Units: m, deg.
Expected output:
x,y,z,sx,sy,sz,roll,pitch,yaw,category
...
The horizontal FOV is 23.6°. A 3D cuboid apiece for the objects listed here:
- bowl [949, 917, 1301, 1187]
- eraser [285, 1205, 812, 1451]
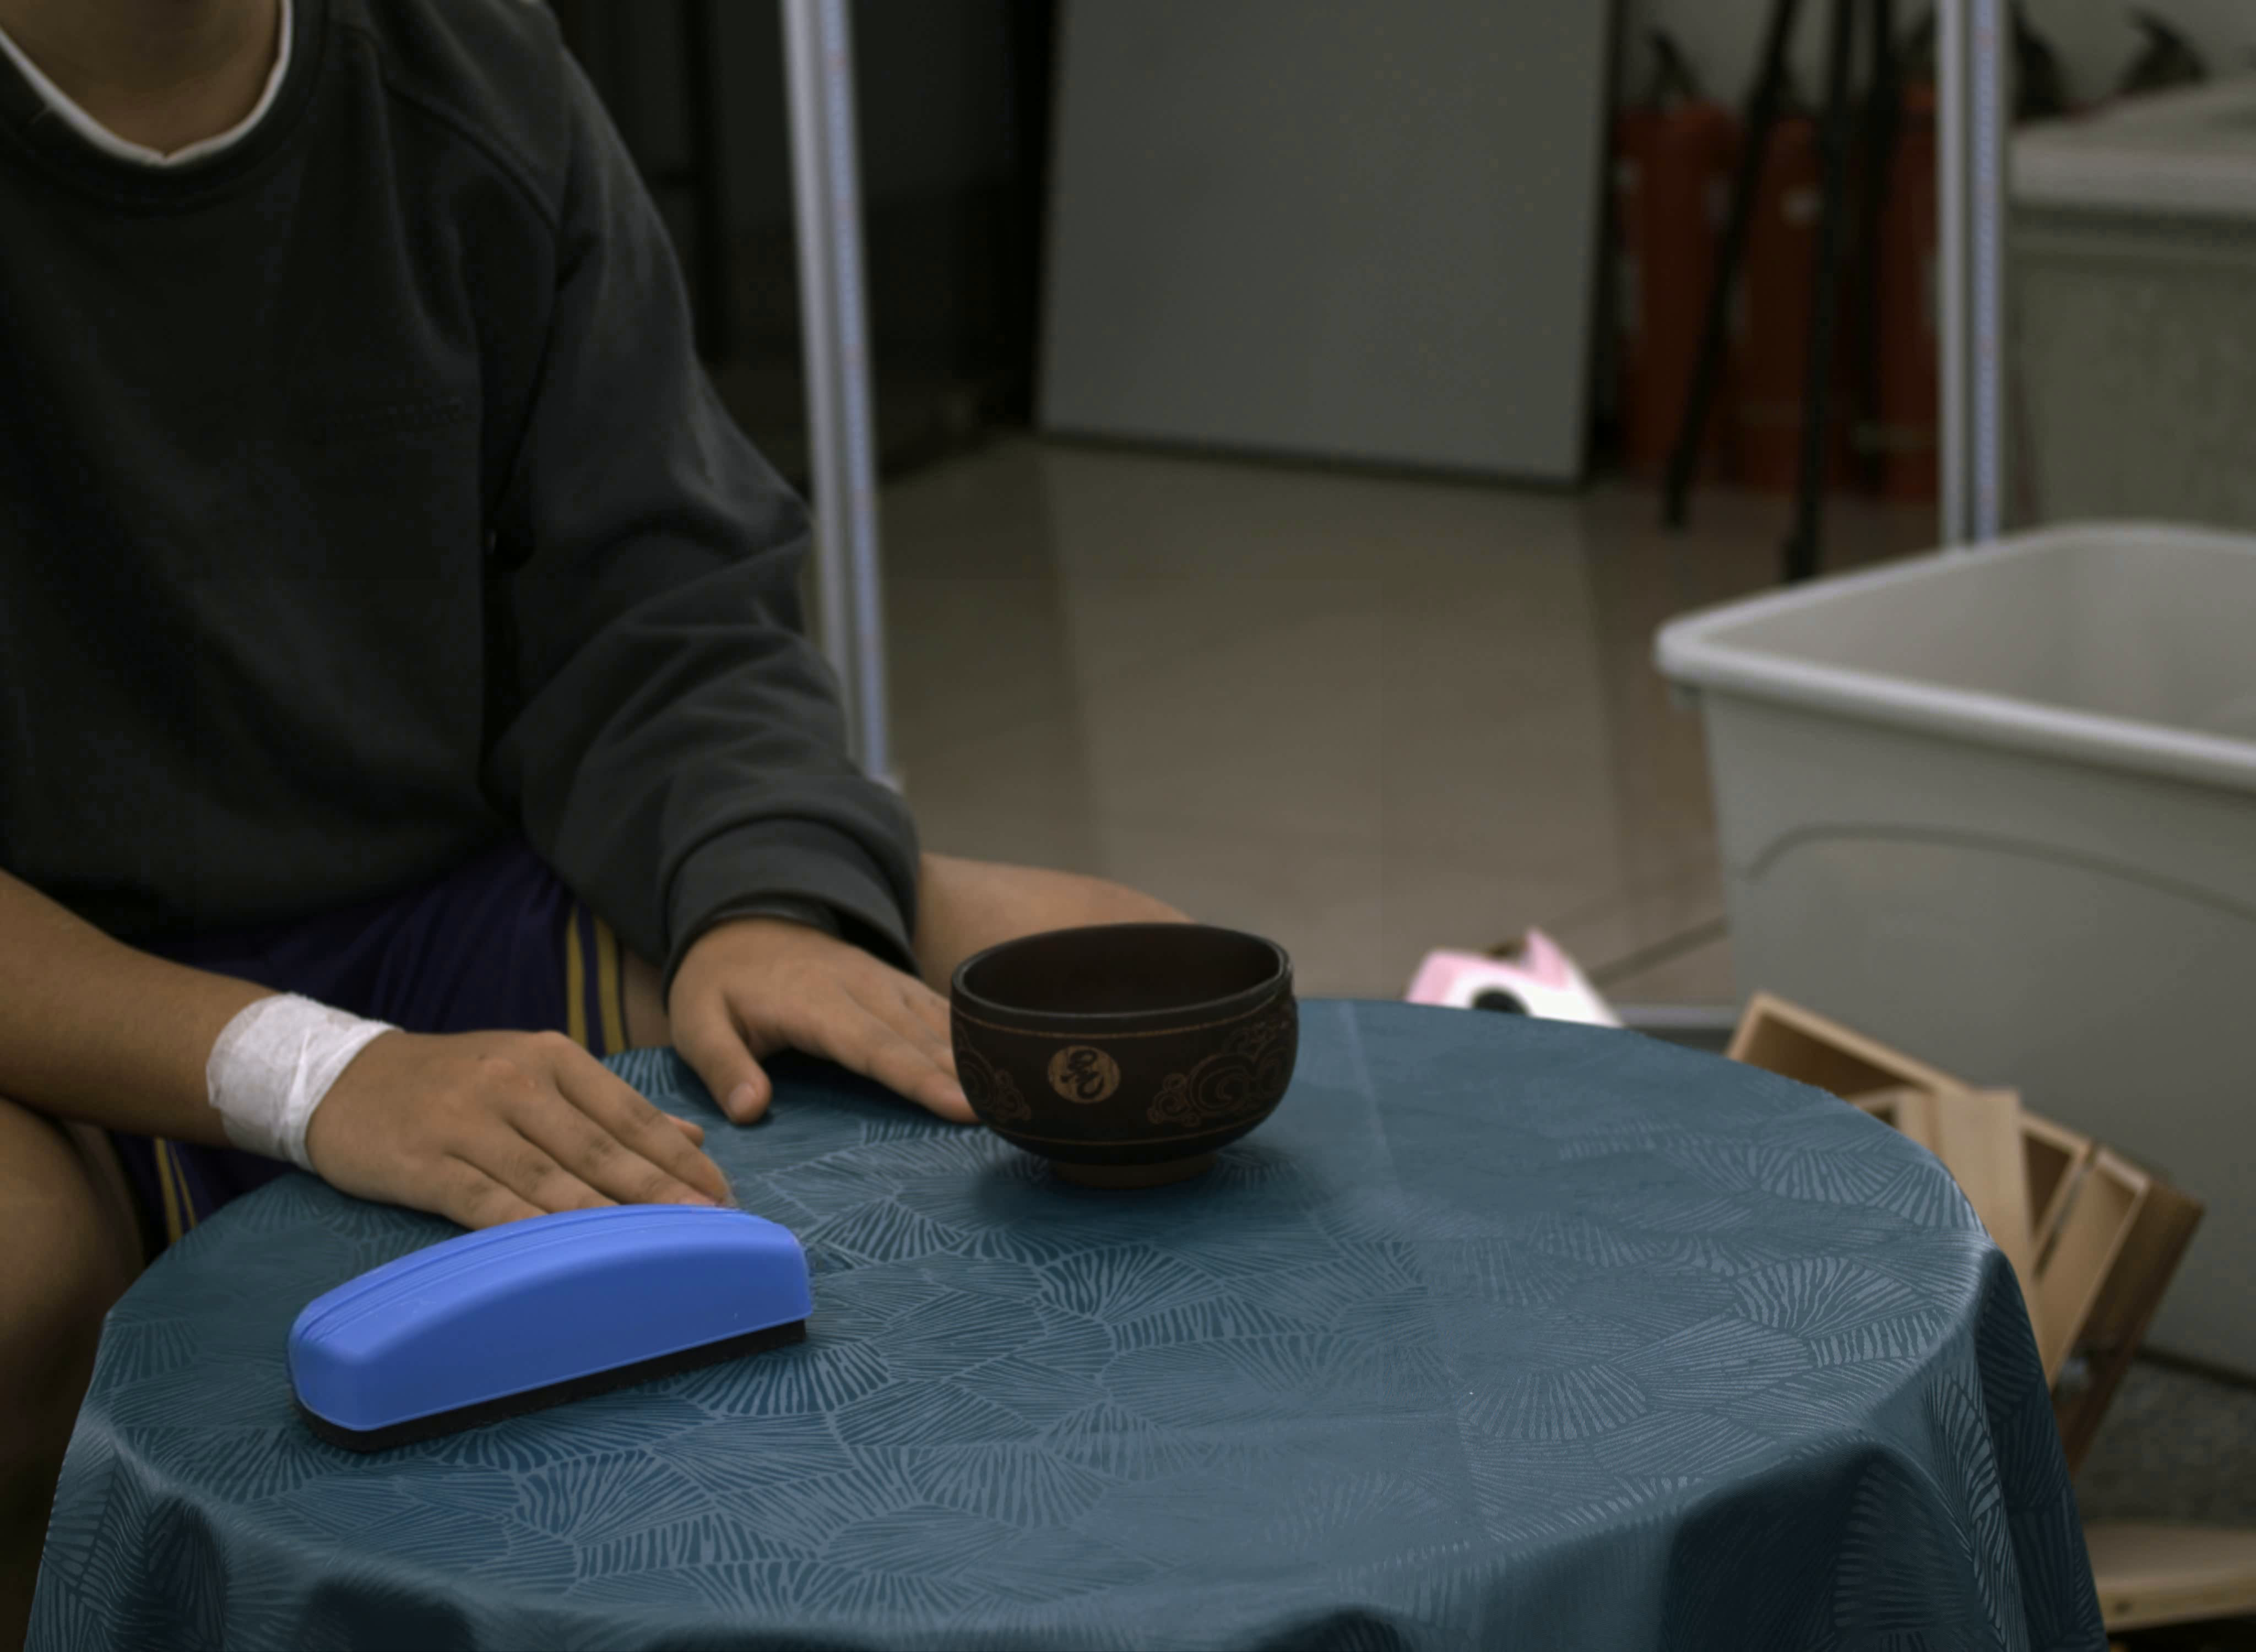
x,y,z,sx,sy,sz,roll,pitch,yaw,category
0.000,0.078,1.789,0.116,0.070,0.118,-5,14,0,bowl
-0.173,0.145,1.624,0.158,0.048,0.054,-12,16,-31,eraser
